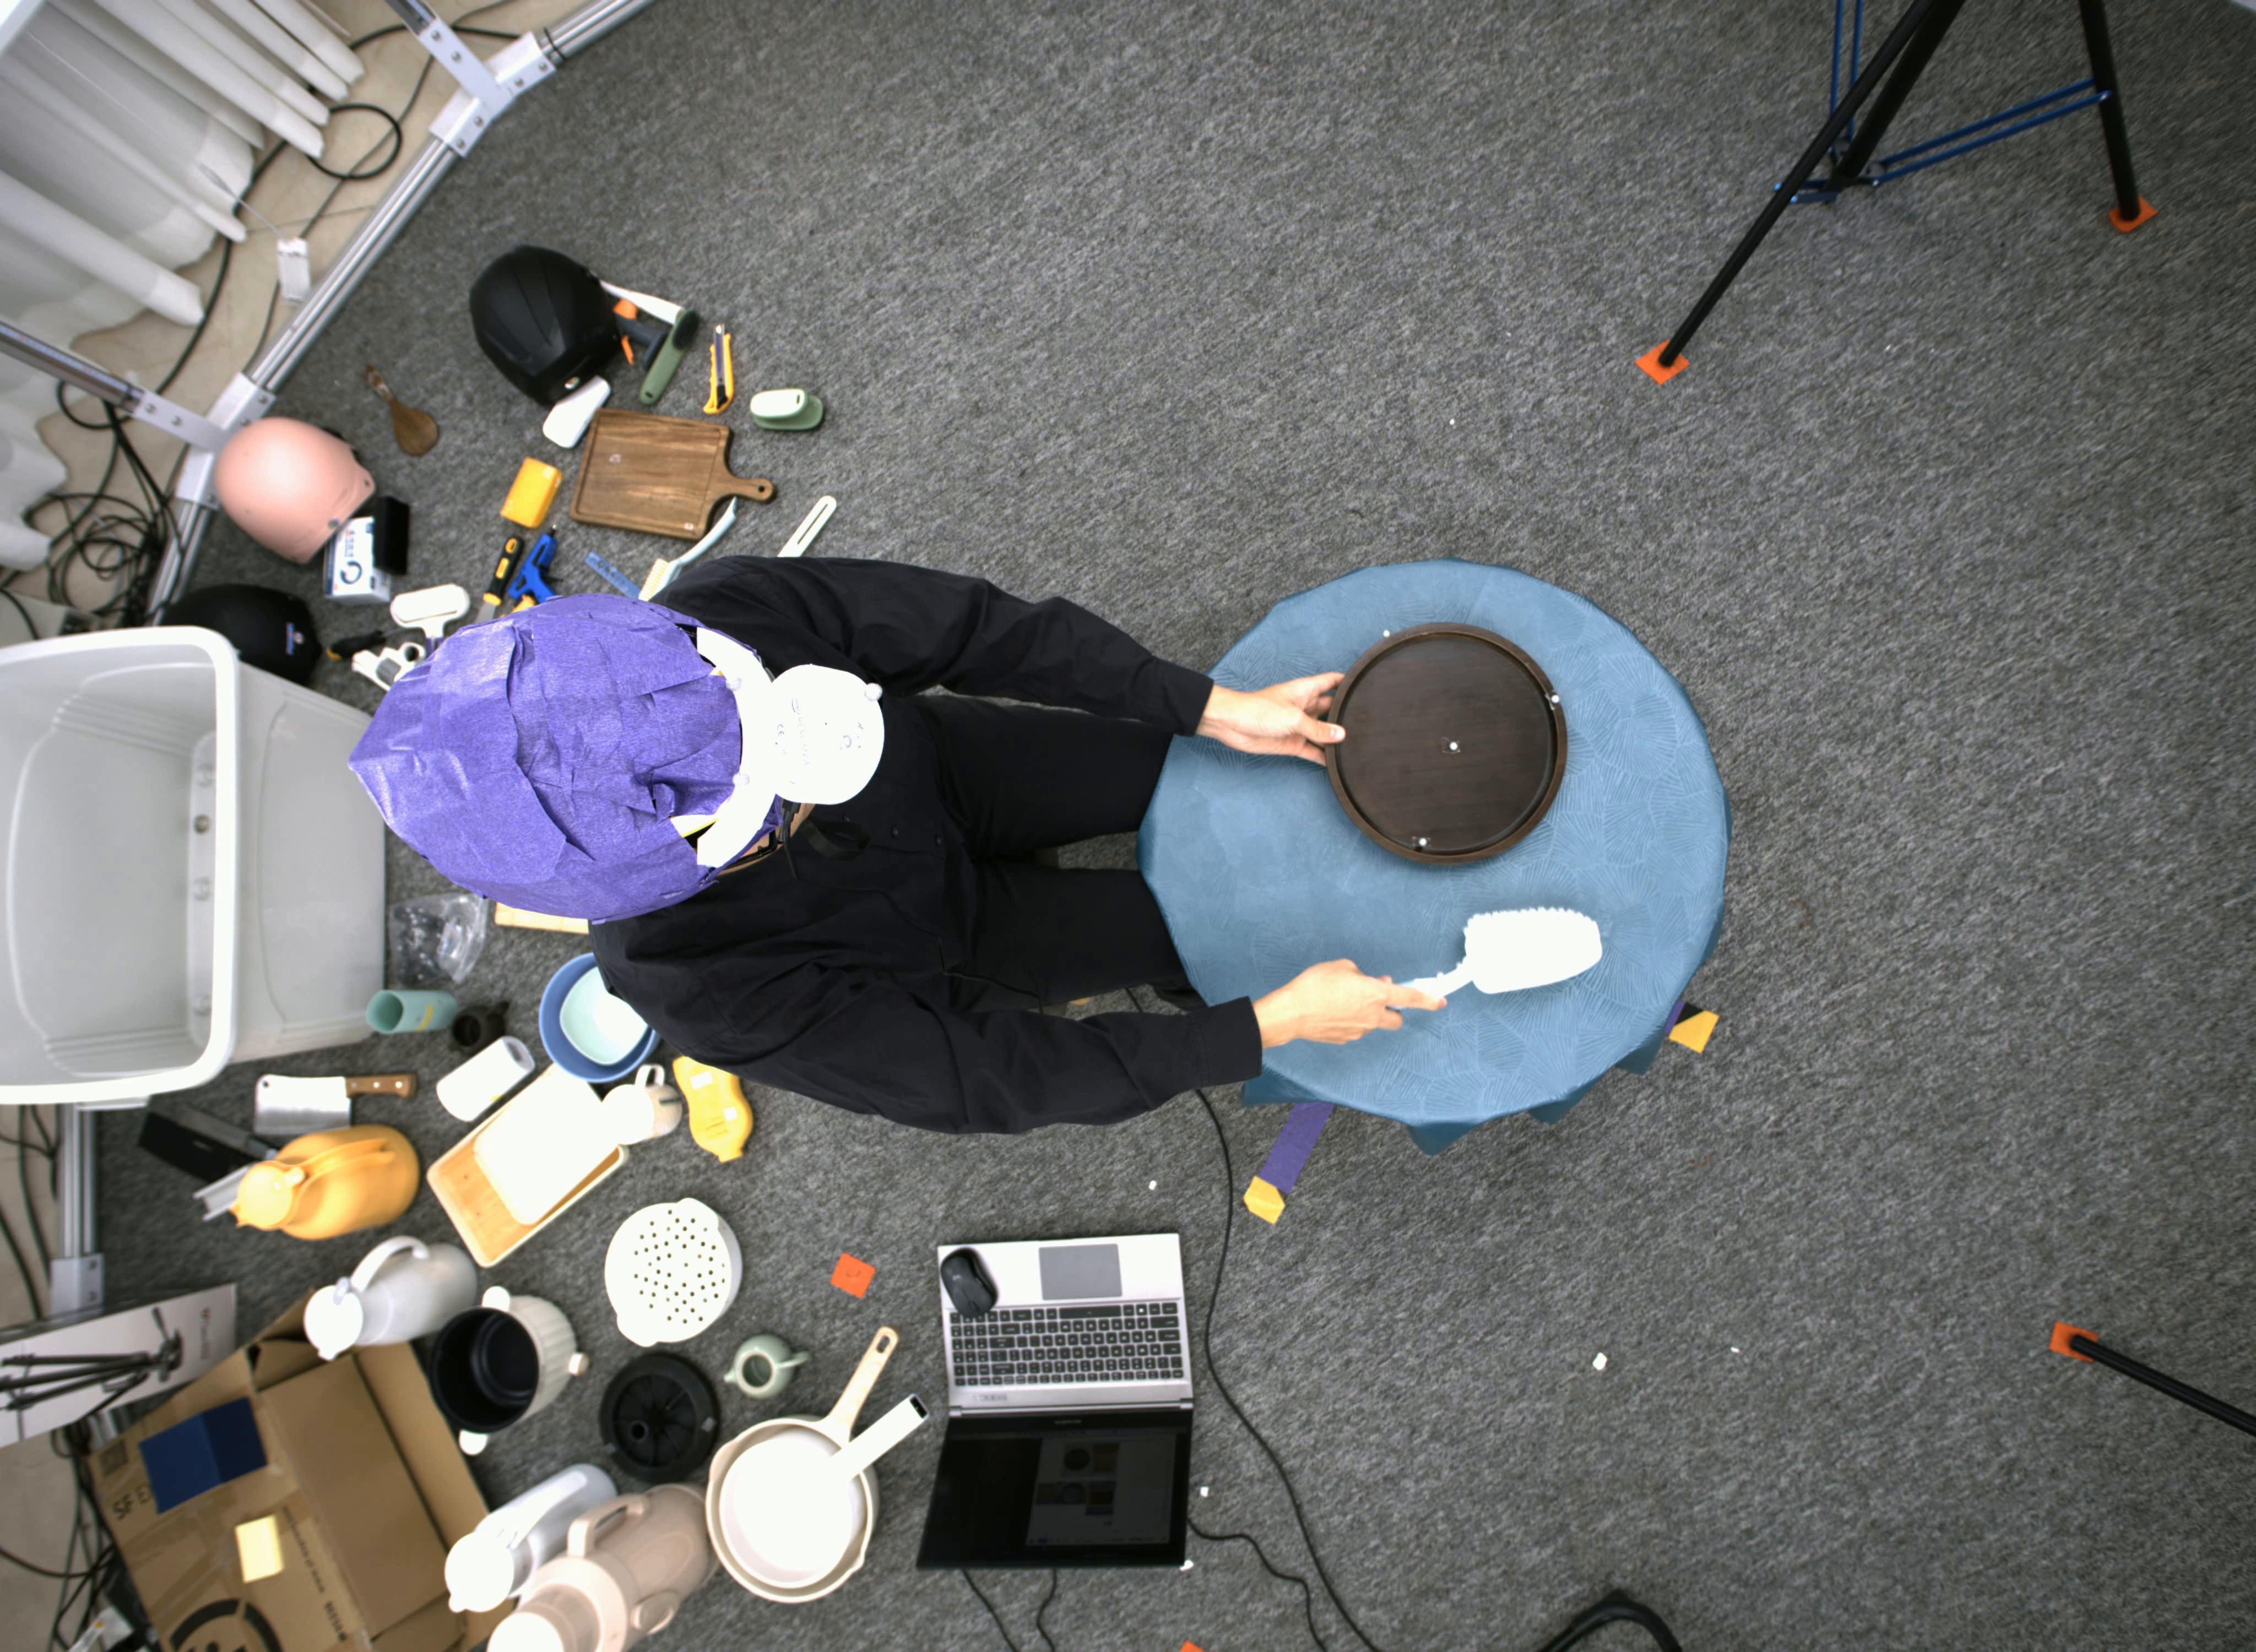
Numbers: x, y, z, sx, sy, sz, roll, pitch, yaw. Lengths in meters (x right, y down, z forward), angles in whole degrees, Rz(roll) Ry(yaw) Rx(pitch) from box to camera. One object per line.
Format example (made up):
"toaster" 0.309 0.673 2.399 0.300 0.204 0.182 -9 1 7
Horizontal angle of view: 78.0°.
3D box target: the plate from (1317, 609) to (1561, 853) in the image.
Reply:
"plate" 0.321 -0.100 1.424 0.255 0.029 0.255 0 94 1

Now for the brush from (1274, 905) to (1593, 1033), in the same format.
"brush" 0.302 0.138 1.387 0.327 0.085 0.082 -16 70 8
